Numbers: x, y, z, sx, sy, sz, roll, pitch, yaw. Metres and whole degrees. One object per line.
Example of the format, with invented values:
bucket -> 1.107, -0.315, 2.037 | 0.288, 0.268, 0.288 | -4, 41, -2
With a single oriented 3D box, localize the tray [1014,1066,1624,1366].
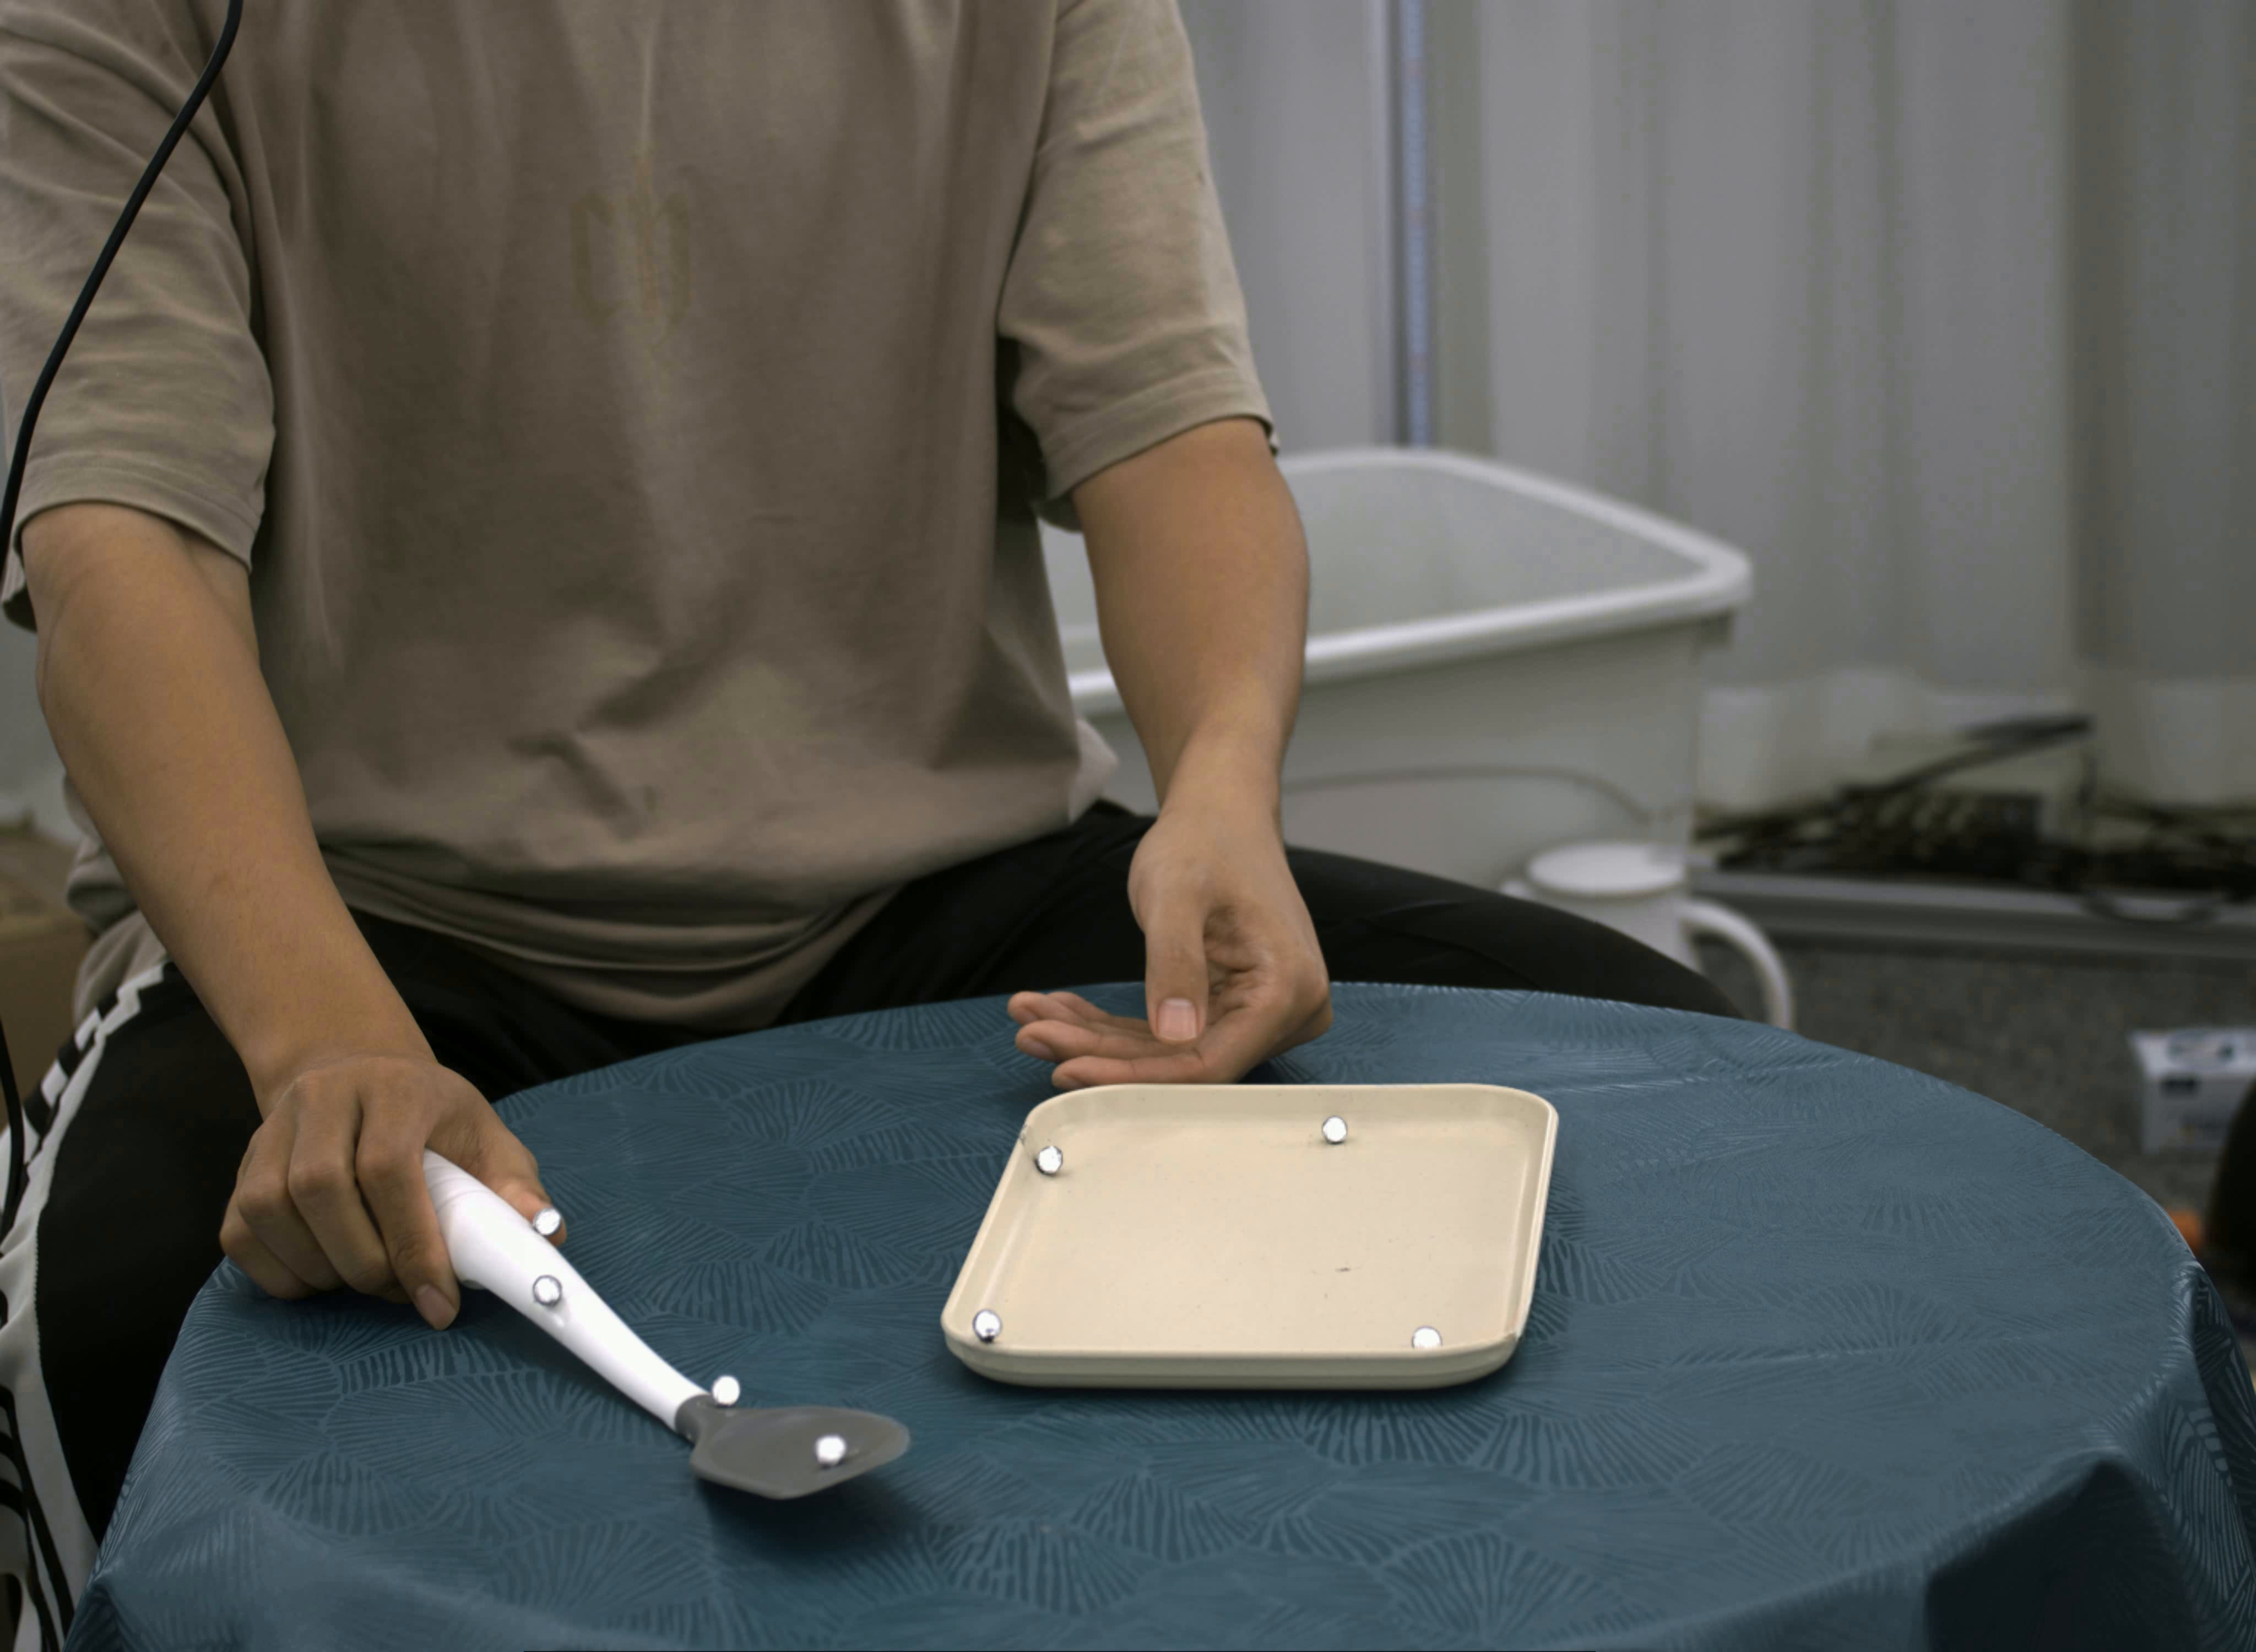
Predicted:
tray -> 0.062, 0.116, 1.645 | 0.171, 0.017, 0.241 | 0, 15, 8

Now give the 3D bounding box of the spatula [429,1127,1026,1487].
spatula -> -0.122, 0.140, 1.554 | 0.058, 0.032, 0.290 | -14, 21, -30
